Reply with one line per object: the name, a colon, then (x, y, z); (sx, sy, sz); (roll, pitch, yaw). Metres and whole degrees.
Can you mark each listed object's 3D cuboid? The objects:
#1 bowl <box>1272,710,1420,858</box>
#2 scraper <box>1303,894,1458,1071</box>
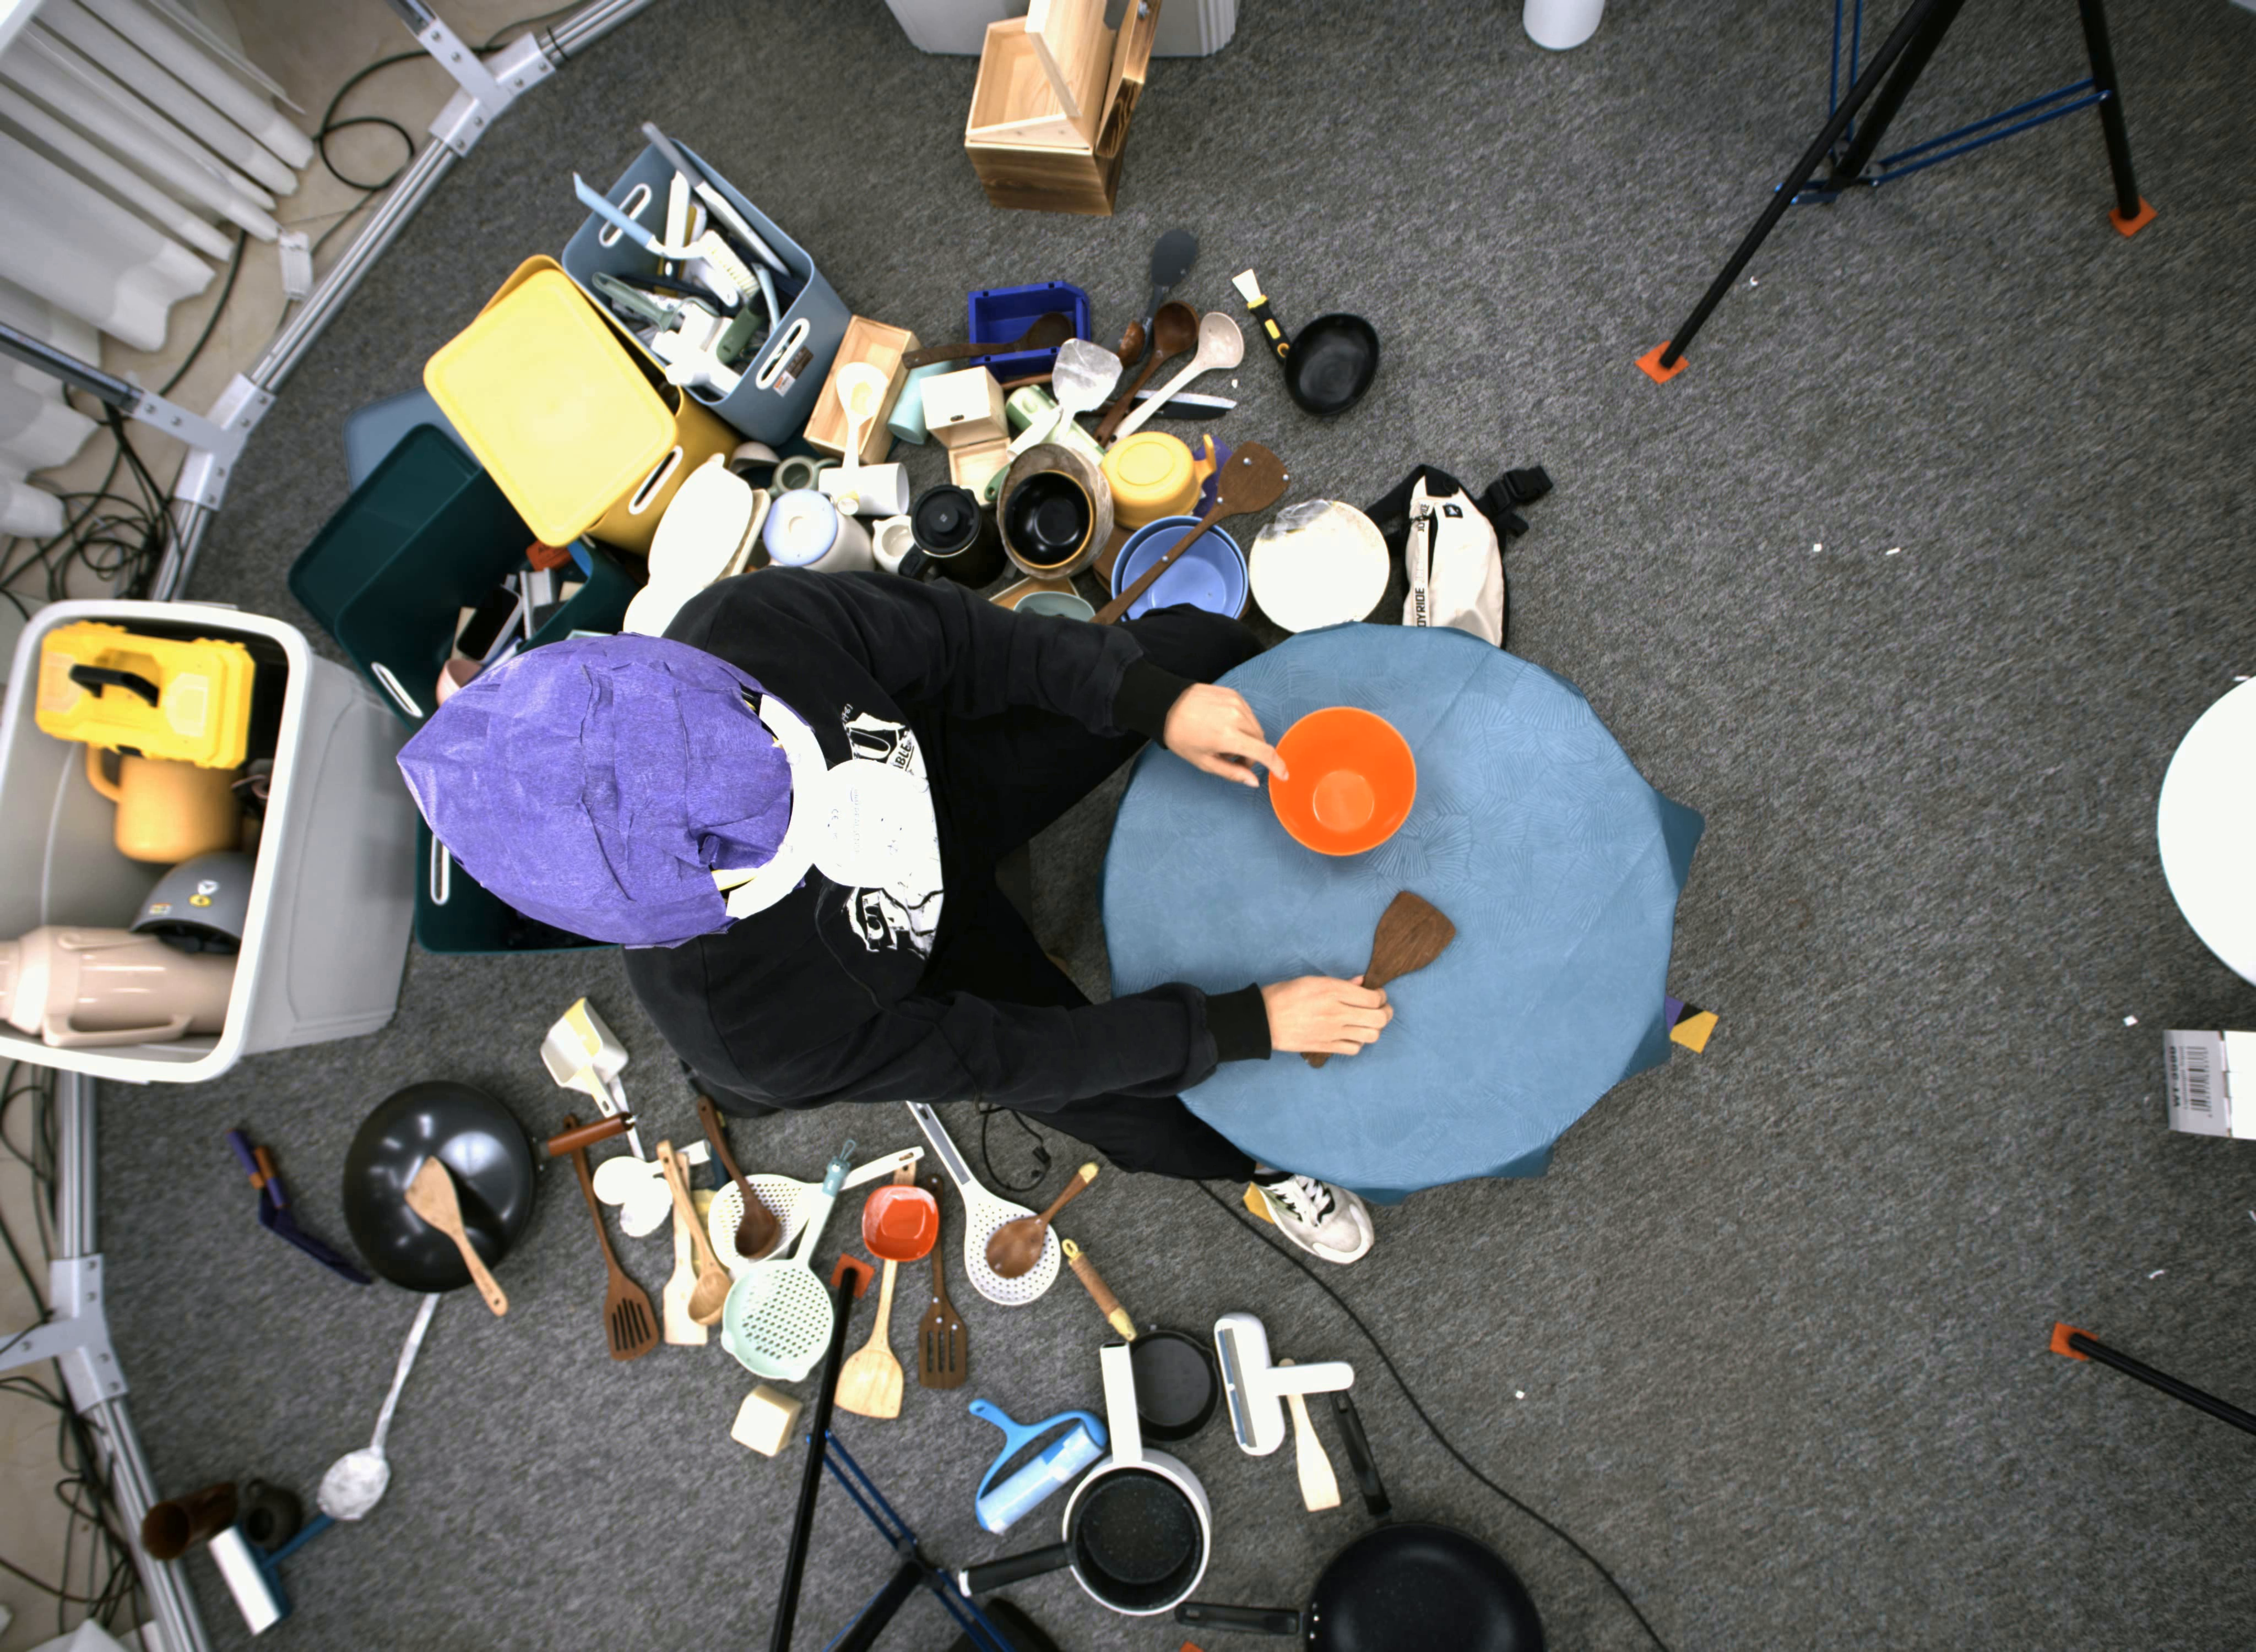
bowl: (0.225, -0.039, 1.429); (0.148, 0.105, 0.147); (-1, 85, 9)
scraper: (0.257, 0.168, 1.454); (0.075, 0.011, 0.212); (40, 95, 19)
